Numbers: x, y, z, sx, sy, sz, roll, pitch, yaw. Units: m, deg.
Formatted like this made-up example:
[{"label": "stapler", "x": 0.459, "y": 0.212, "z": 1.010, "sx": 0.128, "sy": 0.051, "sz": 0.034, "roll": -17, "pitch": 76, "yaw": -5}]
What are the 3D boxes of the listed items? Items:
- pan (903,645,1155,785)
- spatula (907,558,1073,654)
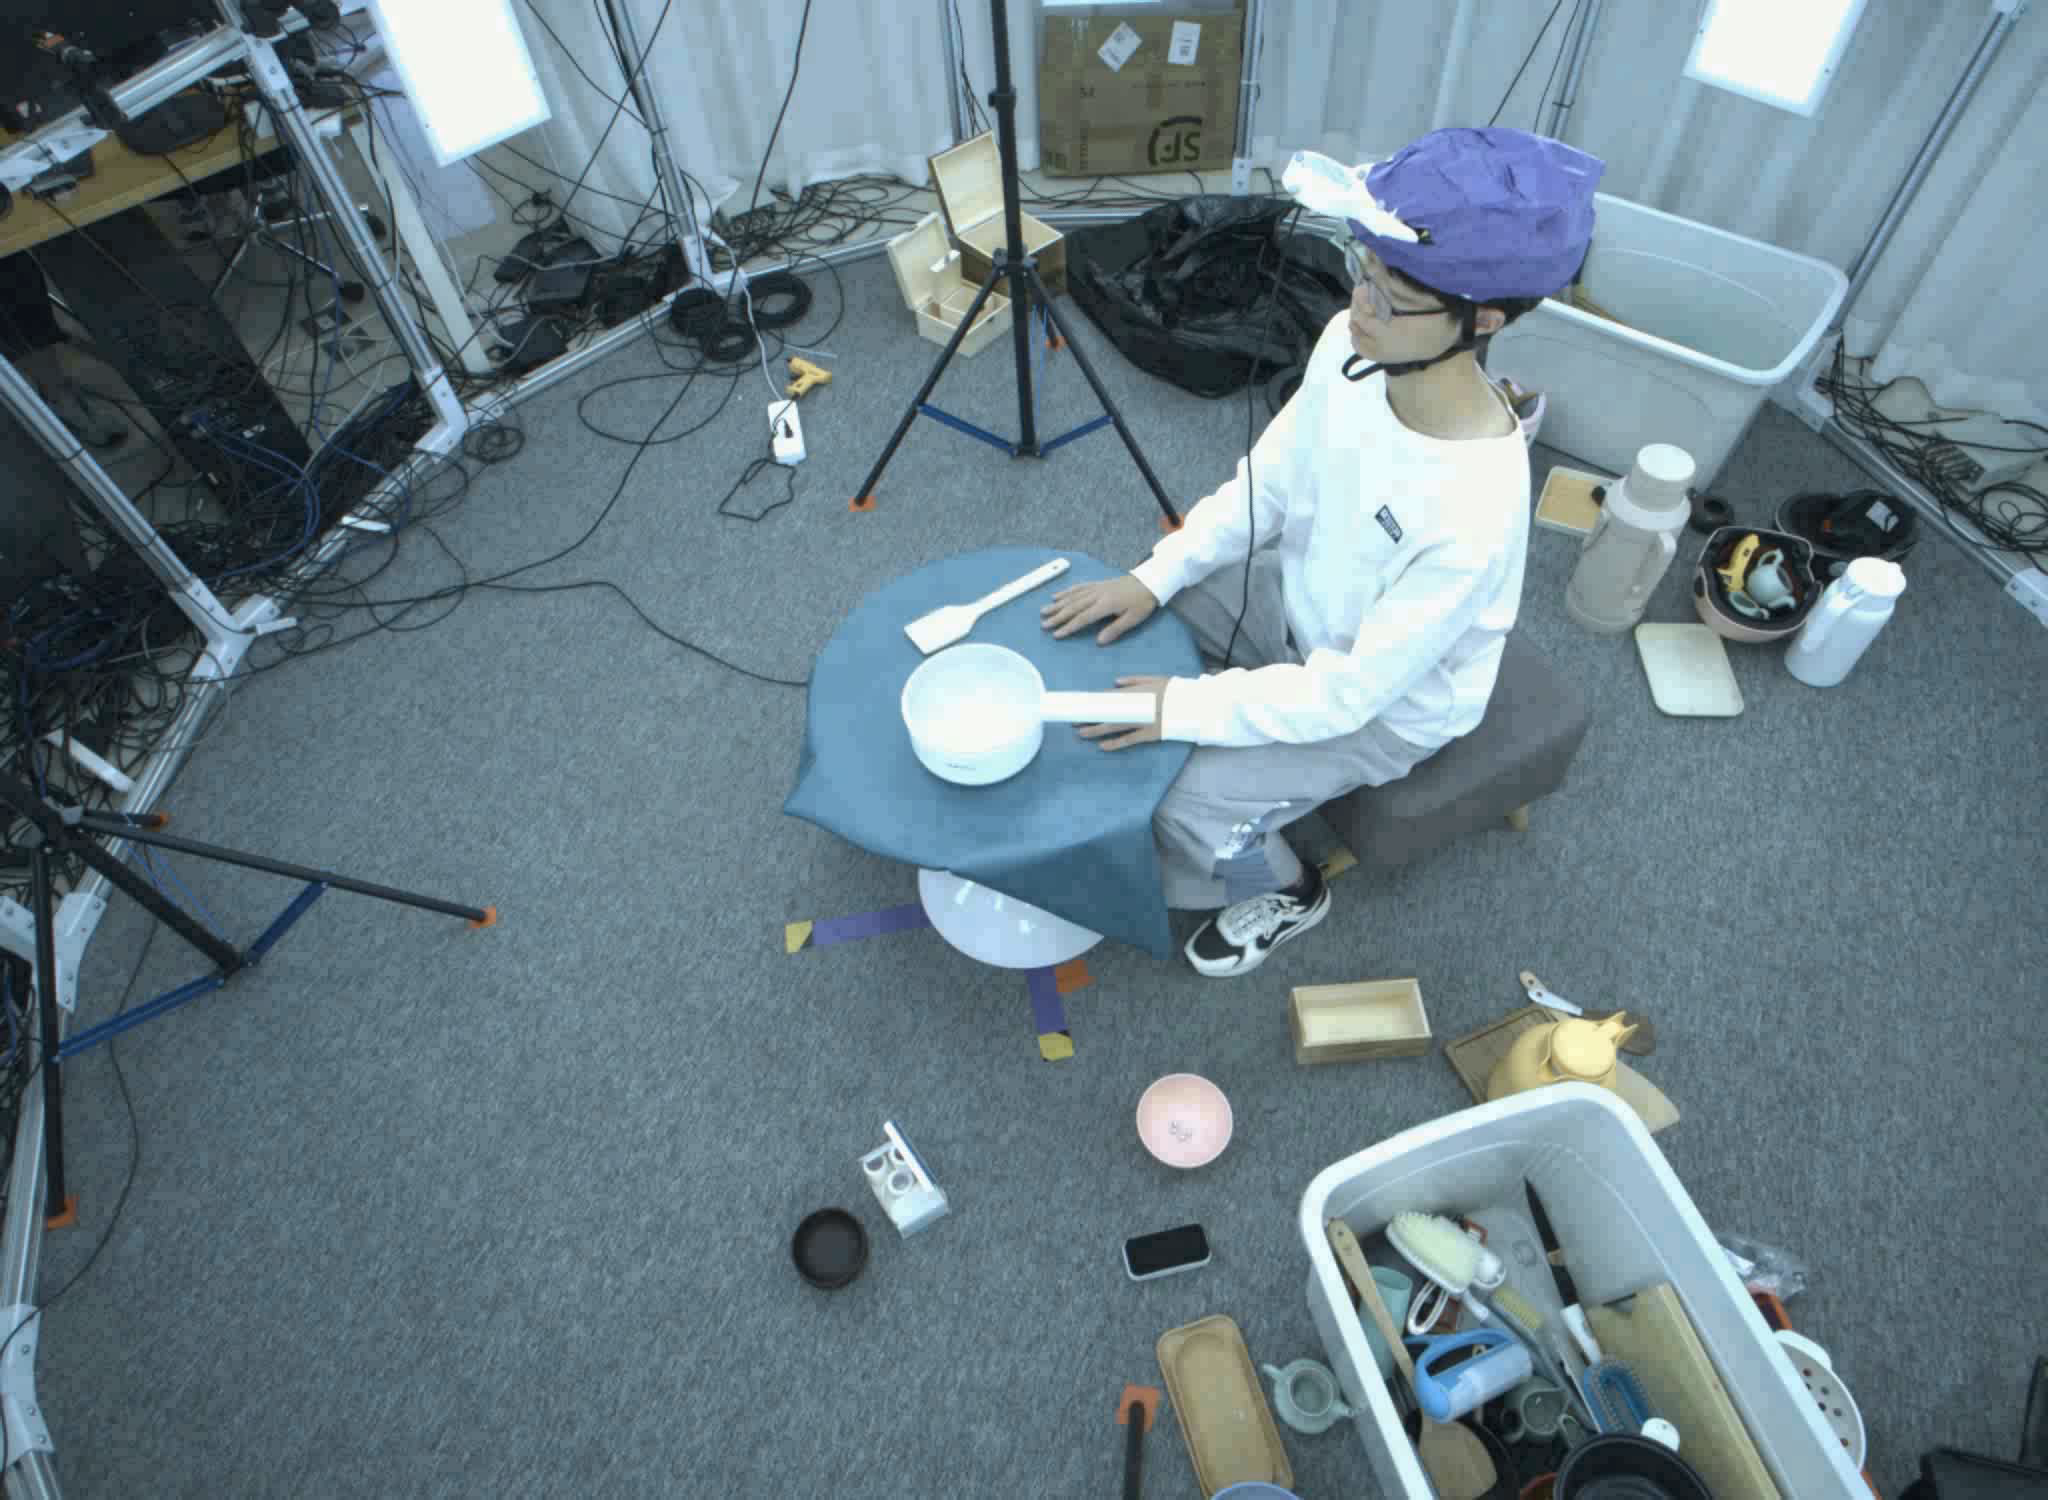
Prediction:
[{"label": "pan", "x": 0.008, "y": -0.043, "z": 1.757, "sx": 0.354, "sy": 0.103, "sz": 0.199, "roll": 2, "pitch": 53, "yaw": 1}, {"label": "spatula", "x": -0.047, "y": -0.238, "z": 1.951, "sx": 0.295, "sy": 0.011, "sz": 0.071, "roll": -30, "pitch": 57, "yaw": -18}]
